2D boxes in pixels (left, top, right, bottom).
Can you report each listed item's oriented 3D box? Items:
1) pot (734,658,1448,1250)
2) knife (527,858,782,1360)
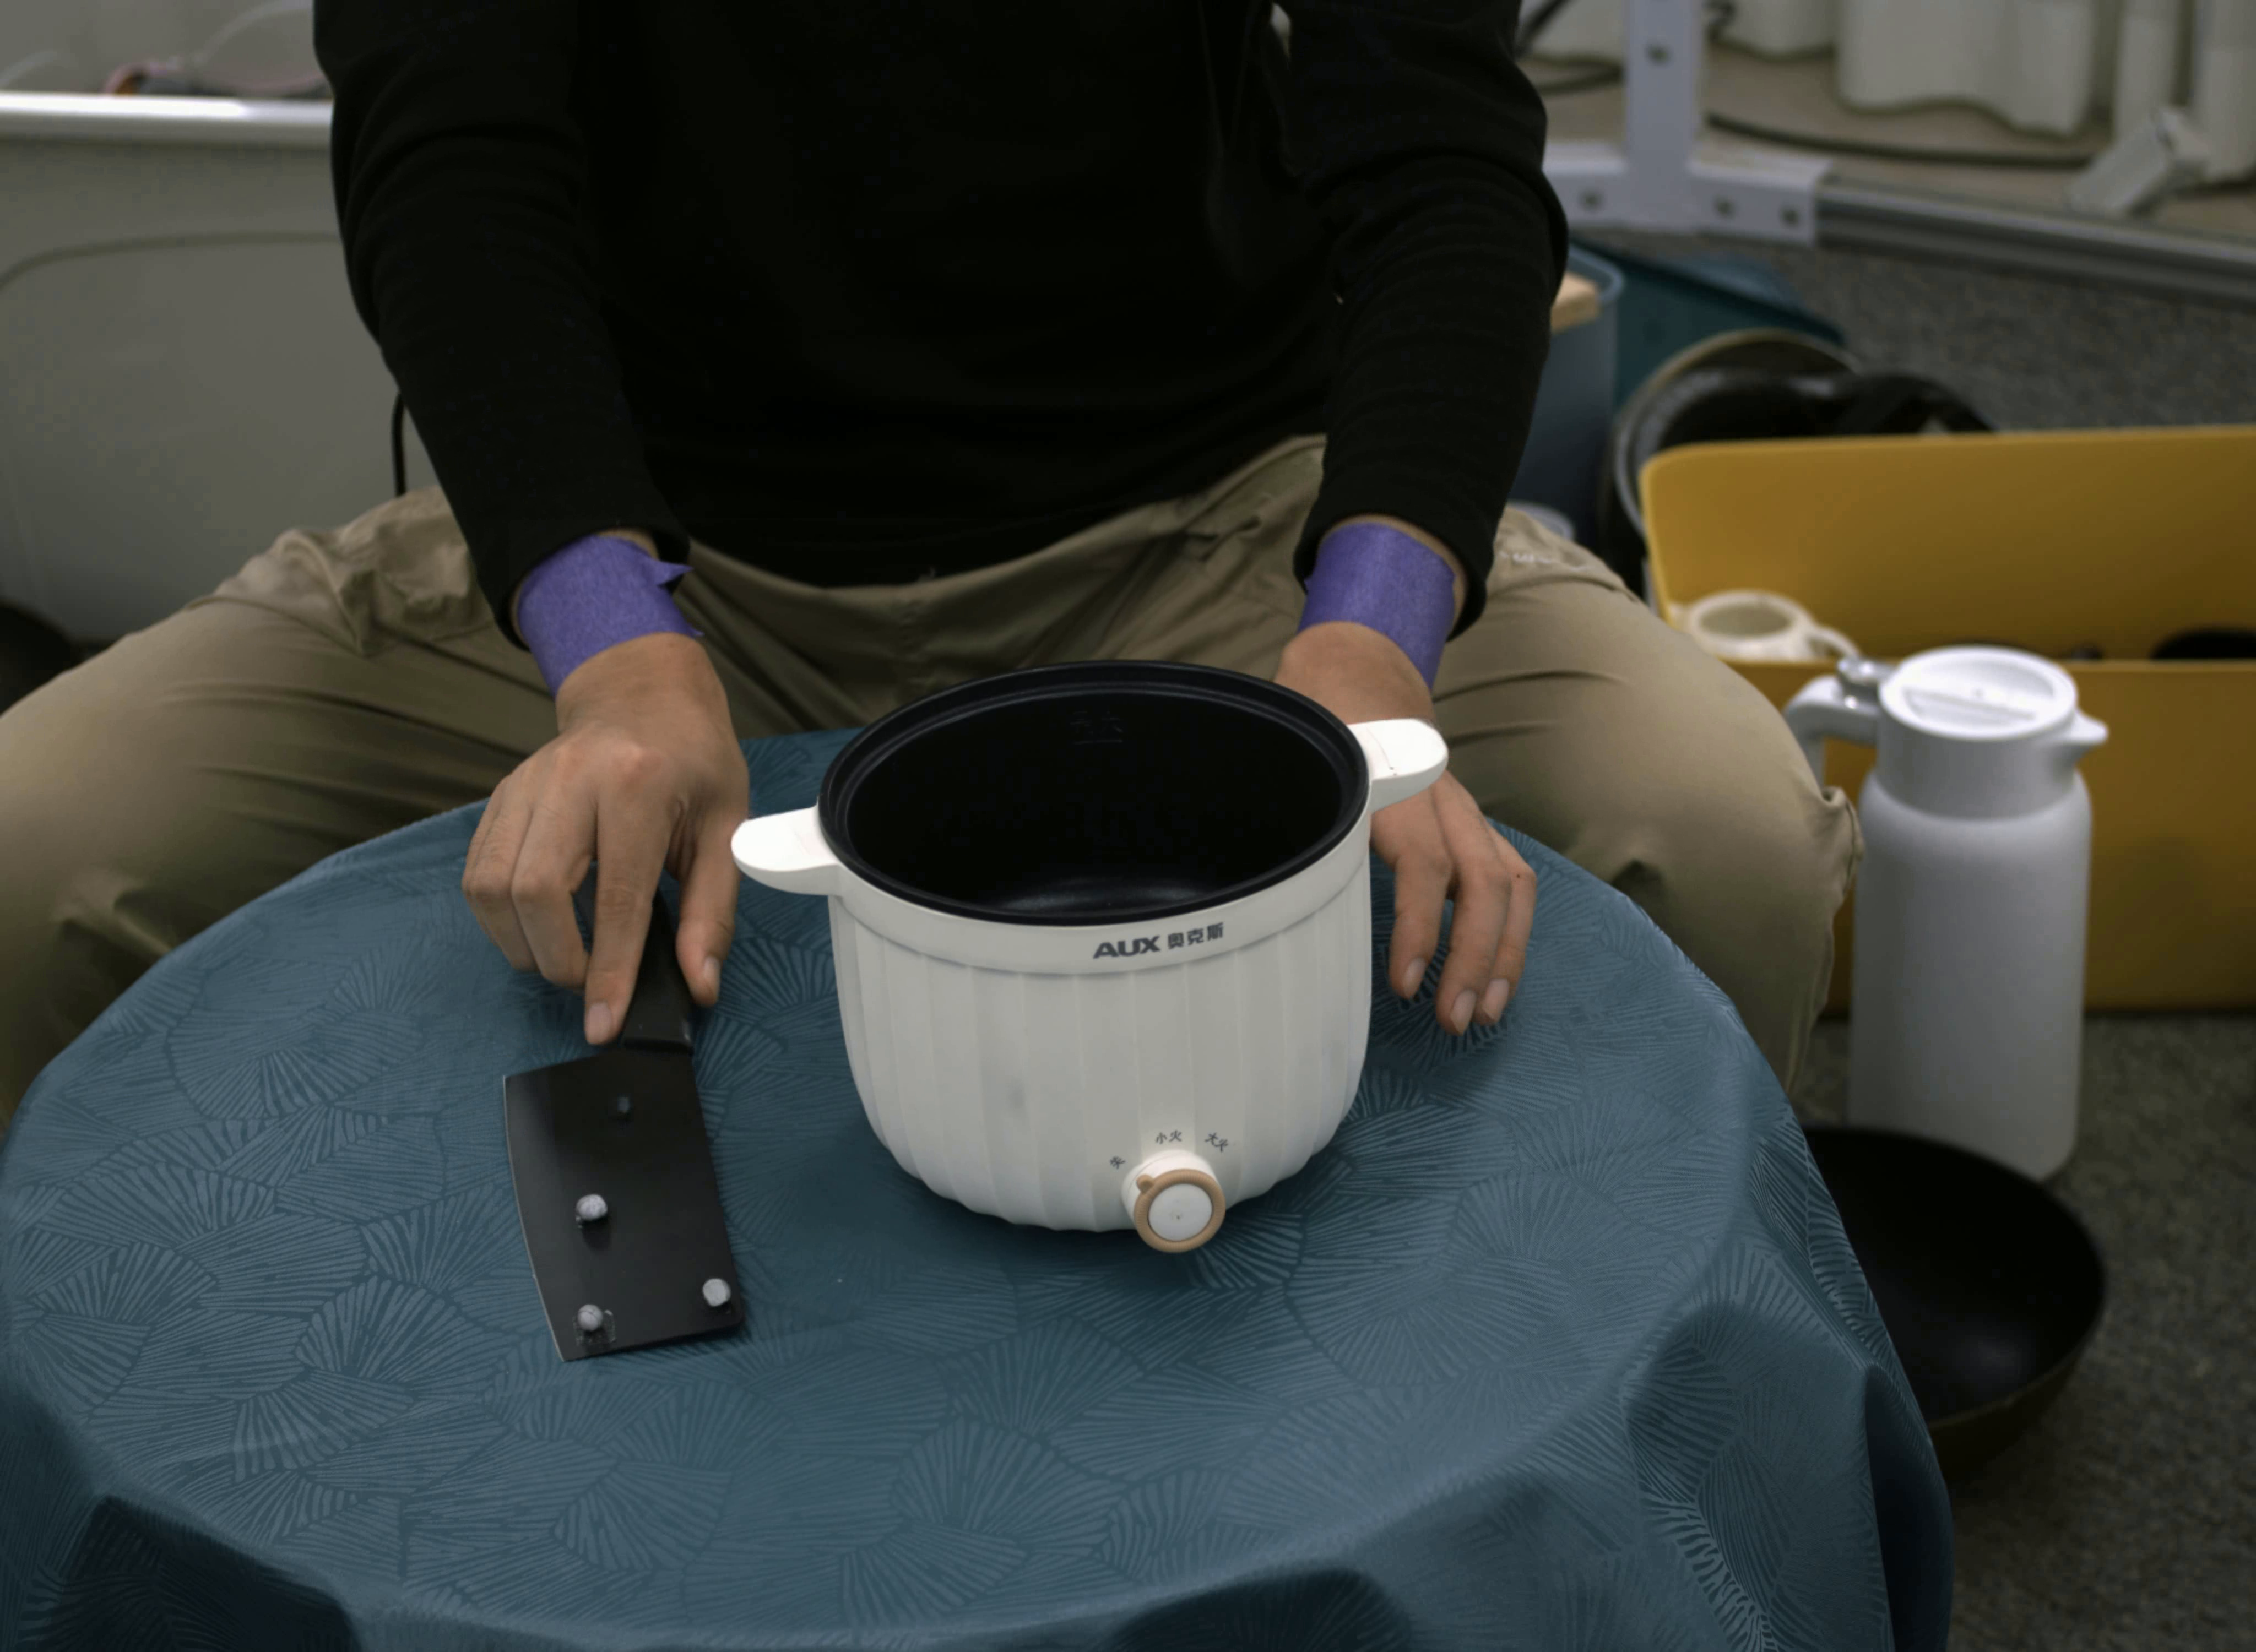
[{"bbox_3d":[-0.005,0.046,1.857,0.240,0.141,0.192,-10,24,-11],"label":"pot"},{"bbox_3d":[-0.166,0.093,1.914,0.080,0.020,0.306,-10,30,-2],"label":"knife"}]
